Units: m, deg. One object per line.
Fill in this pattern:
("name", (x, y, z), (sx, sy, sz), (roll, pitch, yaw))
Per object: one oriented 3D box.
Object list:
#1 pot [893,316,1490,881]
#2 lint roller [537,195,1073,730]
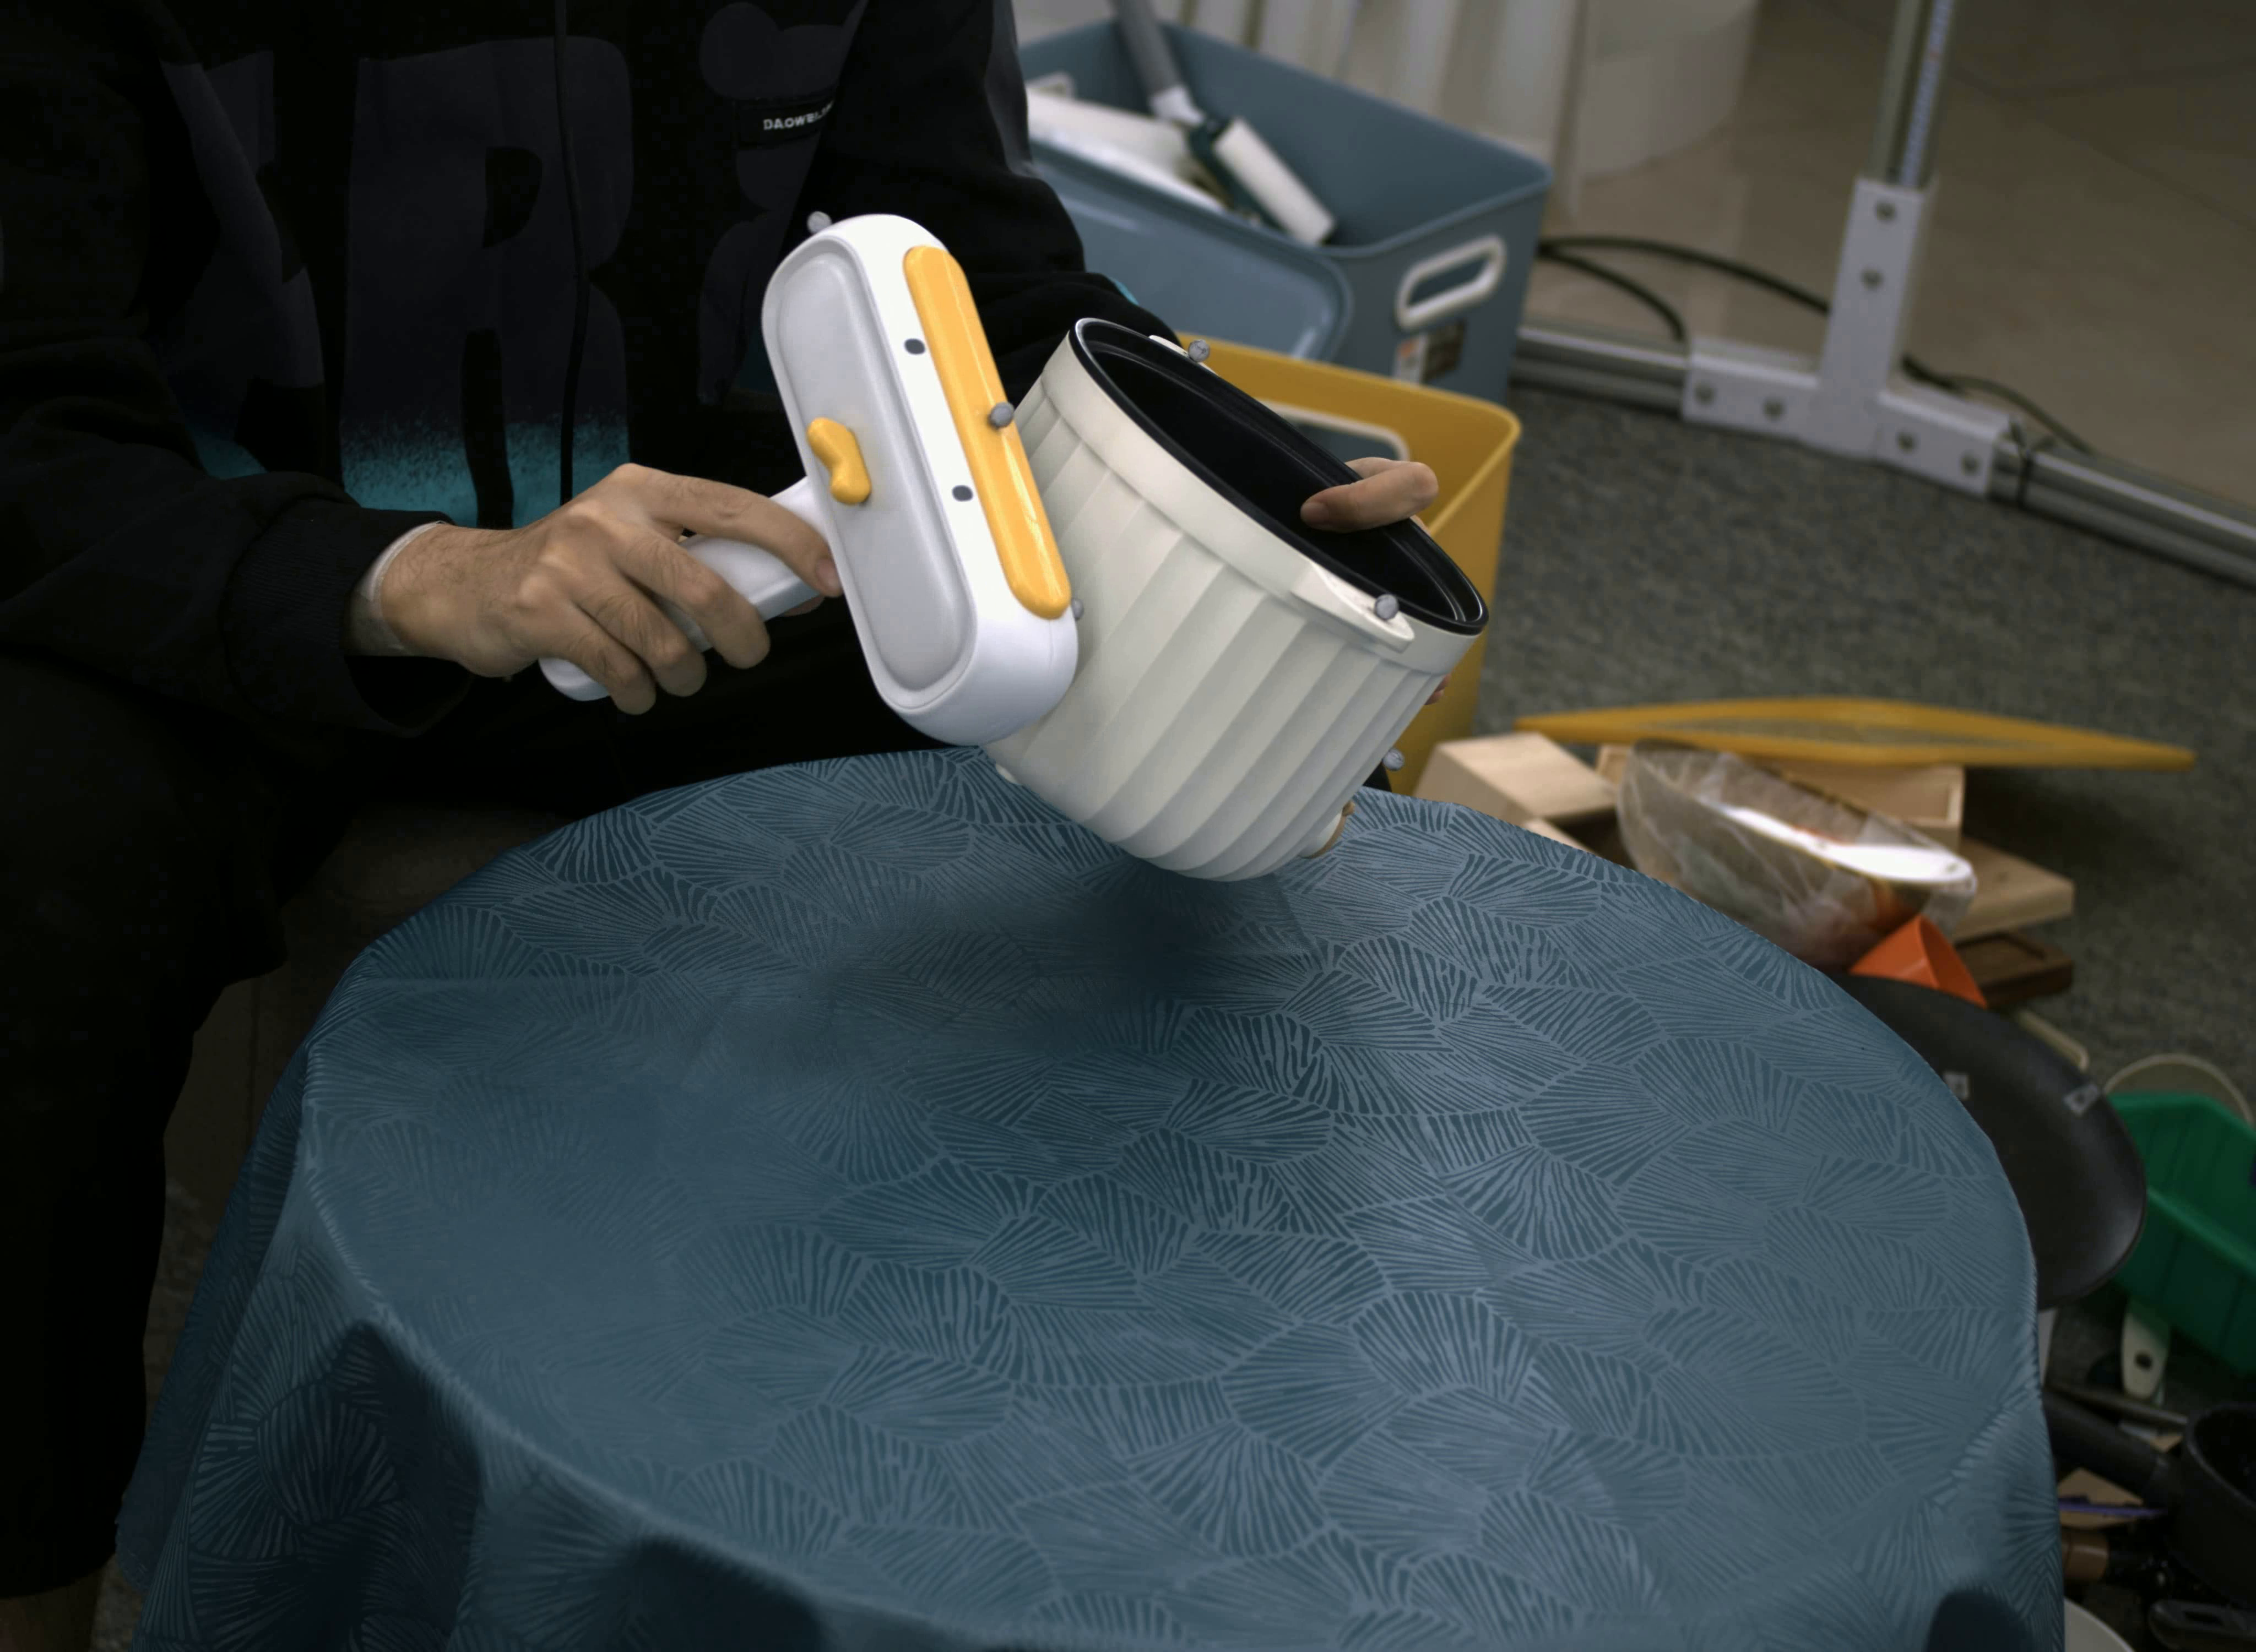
("pot", (0.021, -0.072, 1.899), (0.189, 0.142, 0.242), (25, 18, -28))
("lint roller", (-0.121, -0.096, 1.833), (0.073, 0.192, 0.194), (5, 55, -54))
